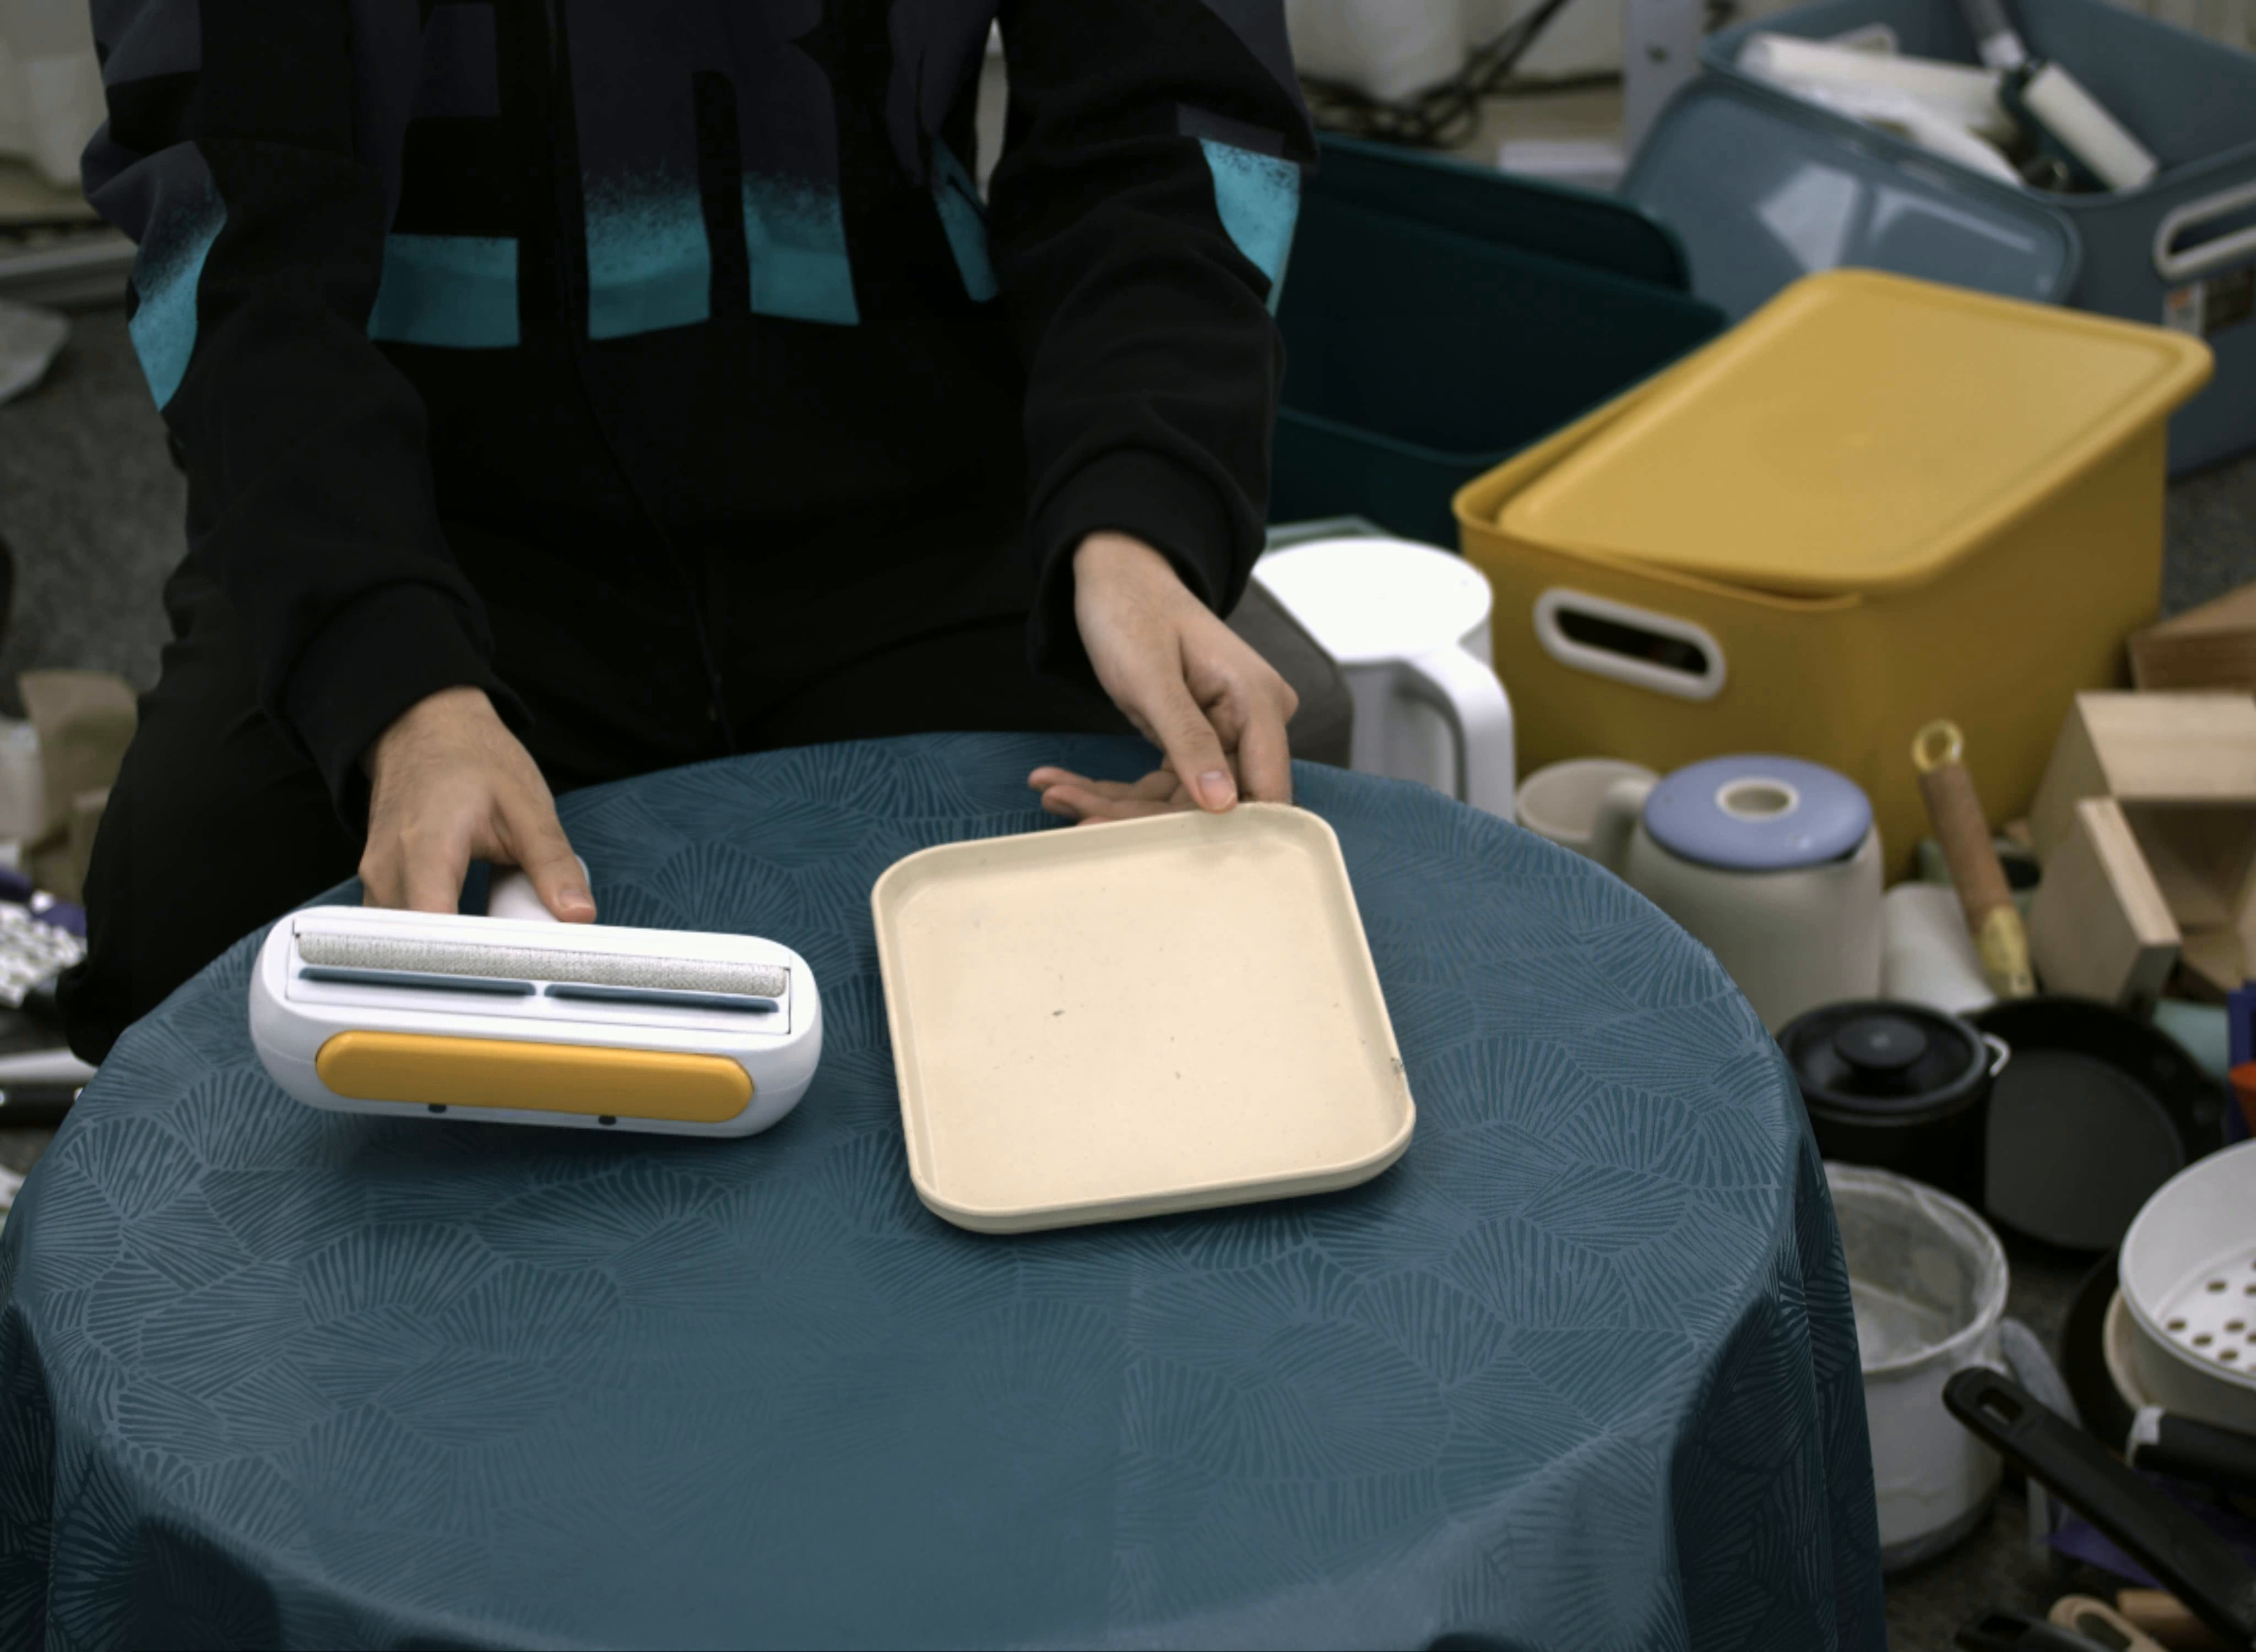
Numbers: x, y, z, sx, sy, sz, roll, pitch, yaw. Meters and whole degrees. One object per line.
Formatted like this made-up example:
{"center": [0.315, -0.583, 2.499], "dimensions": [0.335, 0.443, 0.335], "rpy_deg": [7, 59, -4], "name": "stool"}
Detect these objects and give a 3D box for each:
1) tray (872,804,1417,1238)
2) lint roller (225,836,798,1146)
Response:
{"center": [0.003, 0.066, 1.935], "dimensions": [0.171, 0.017, 0.243], "rpy_deg": [-7, 30, -3], "name": "tray"}
{"center": [-0.209, 0.043, 1.950], "dimensions": [0.192, 0.073, 0.195], "rpy_deg": [2, 30, -2], "name": "lint roller"}
